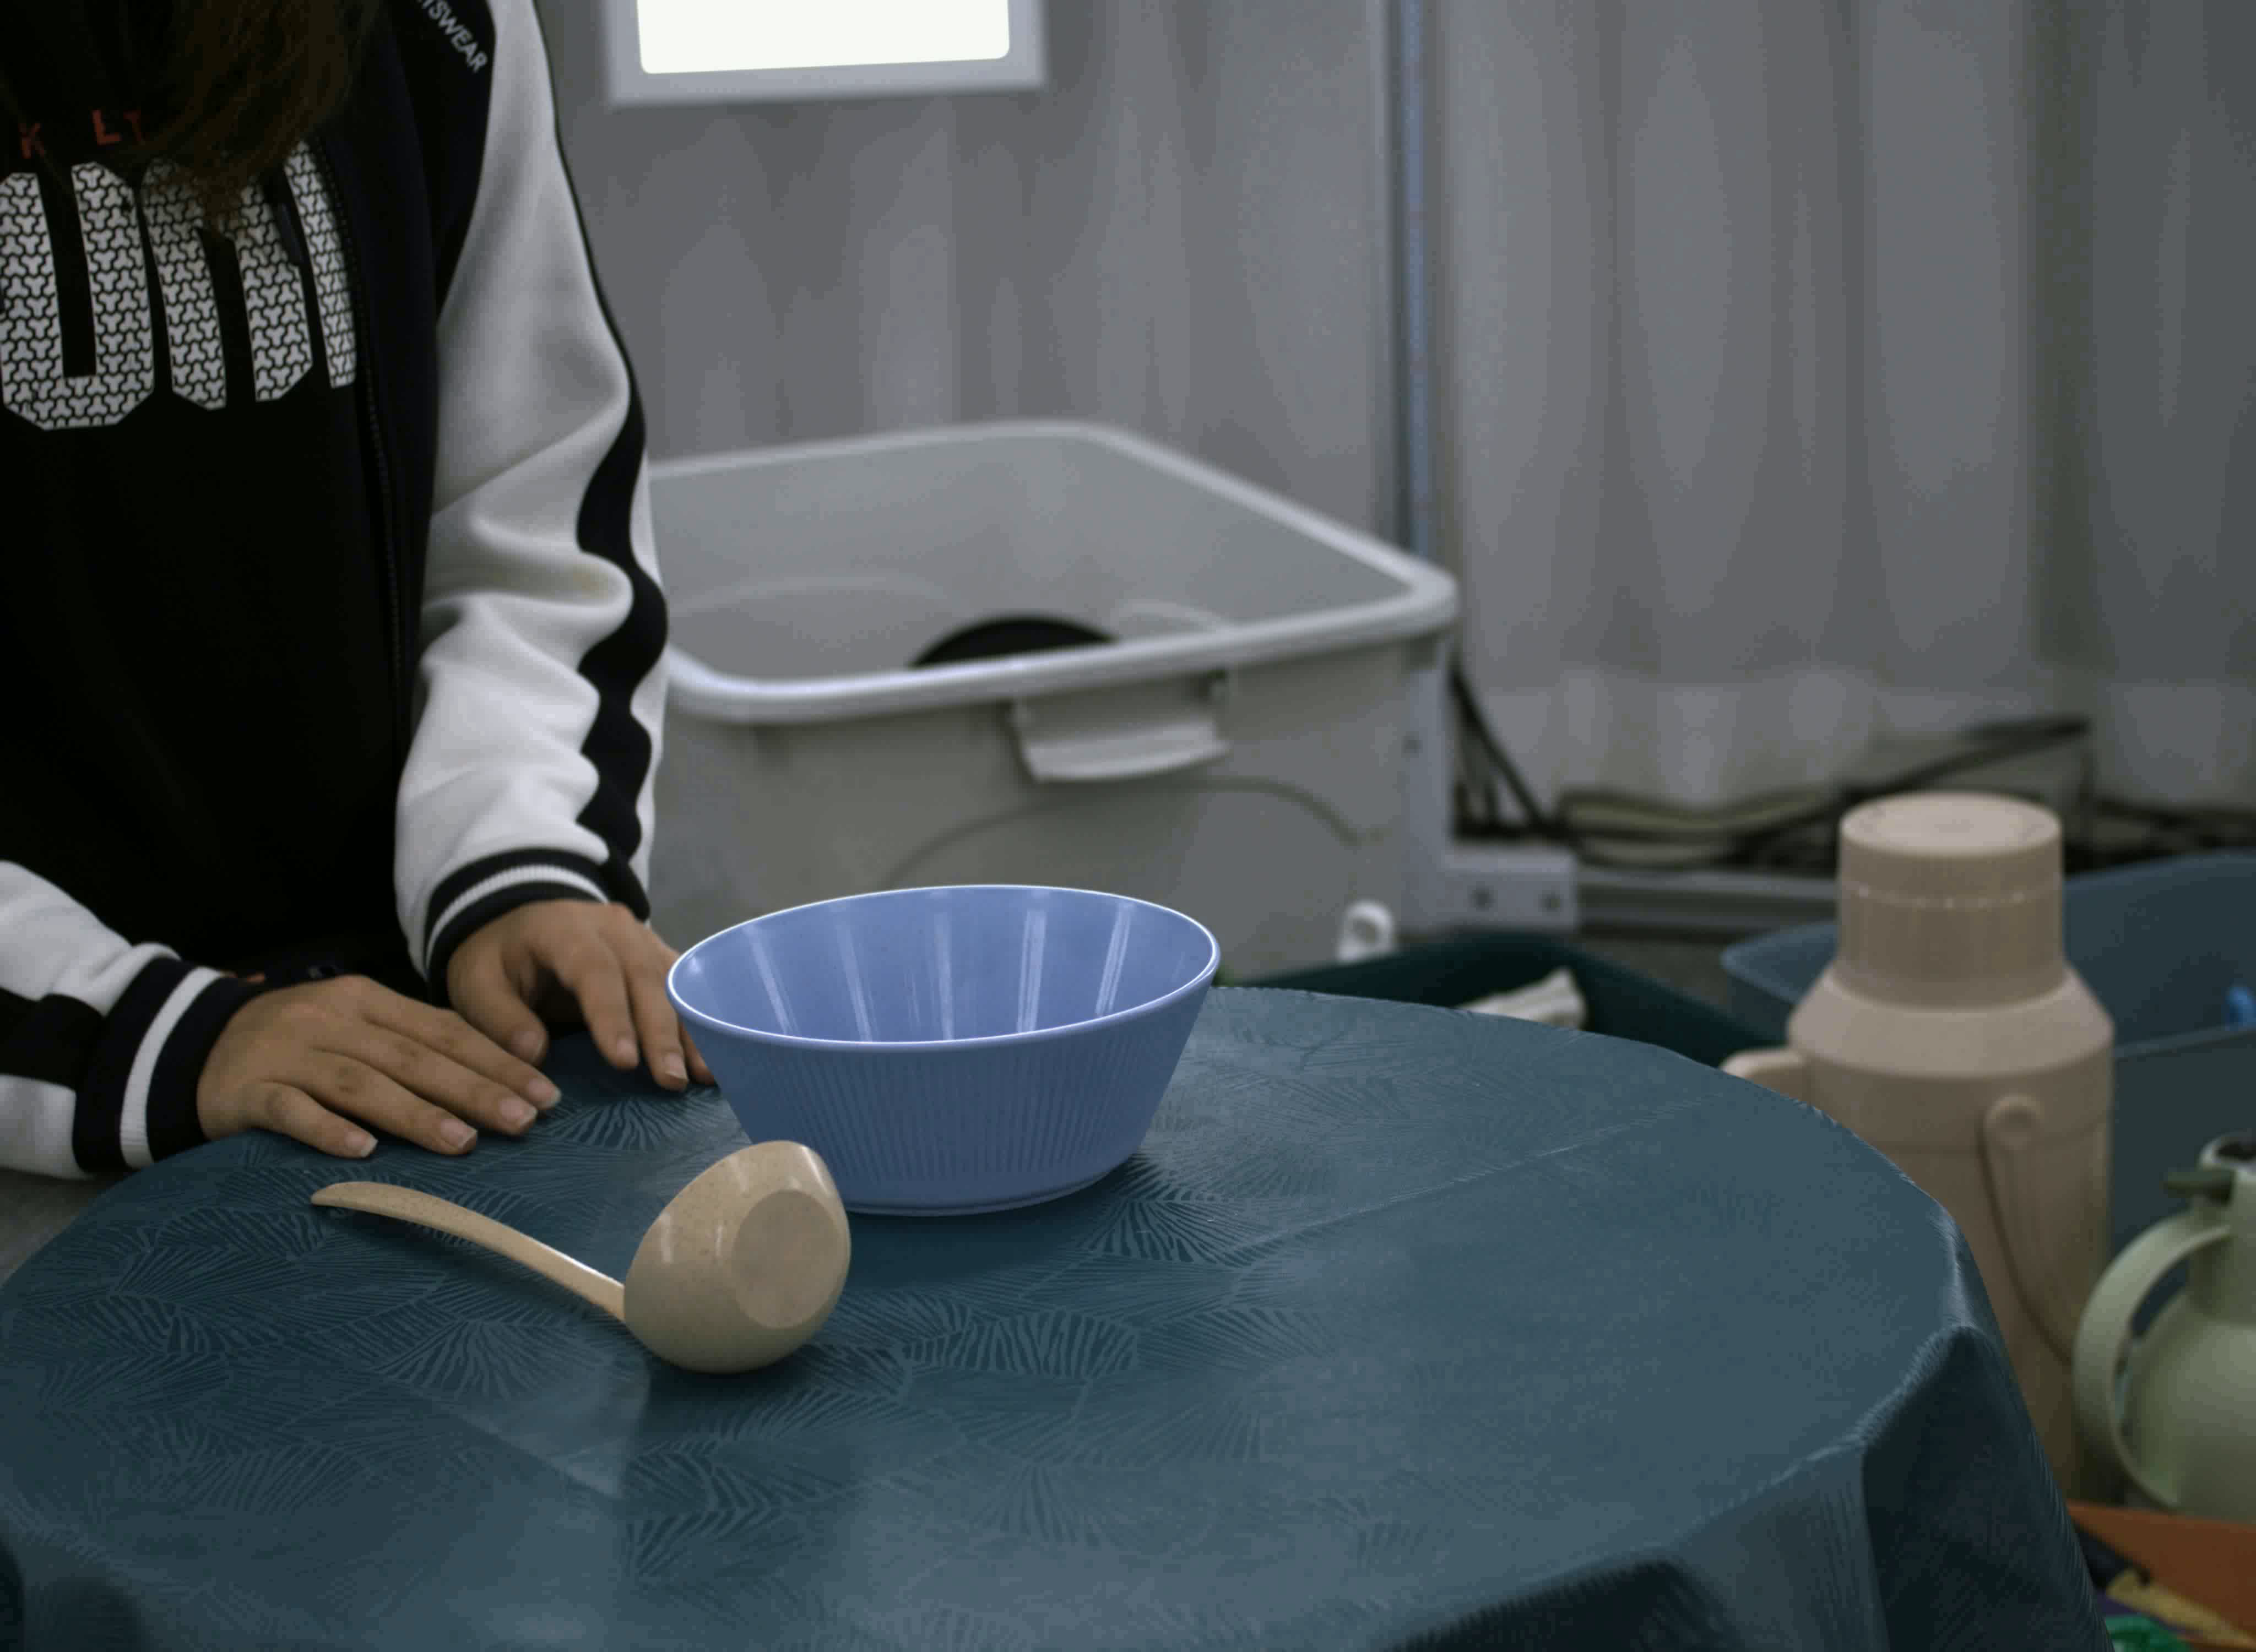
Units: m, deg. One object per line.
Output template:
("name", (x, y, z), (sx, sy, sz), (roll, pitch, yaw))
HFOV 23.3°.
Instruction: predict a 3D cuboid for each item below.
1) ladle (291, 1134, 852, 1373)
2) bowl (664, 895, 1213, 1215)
("ladle", (-0.179, 0.106, 1.640), (0.072, 0.072, 0.256), (-14, 18, -40))
("bowl", (-0.059, 0.075, 1.741), (0.175, 0.070, 0.177), (-2, 14, 0))
